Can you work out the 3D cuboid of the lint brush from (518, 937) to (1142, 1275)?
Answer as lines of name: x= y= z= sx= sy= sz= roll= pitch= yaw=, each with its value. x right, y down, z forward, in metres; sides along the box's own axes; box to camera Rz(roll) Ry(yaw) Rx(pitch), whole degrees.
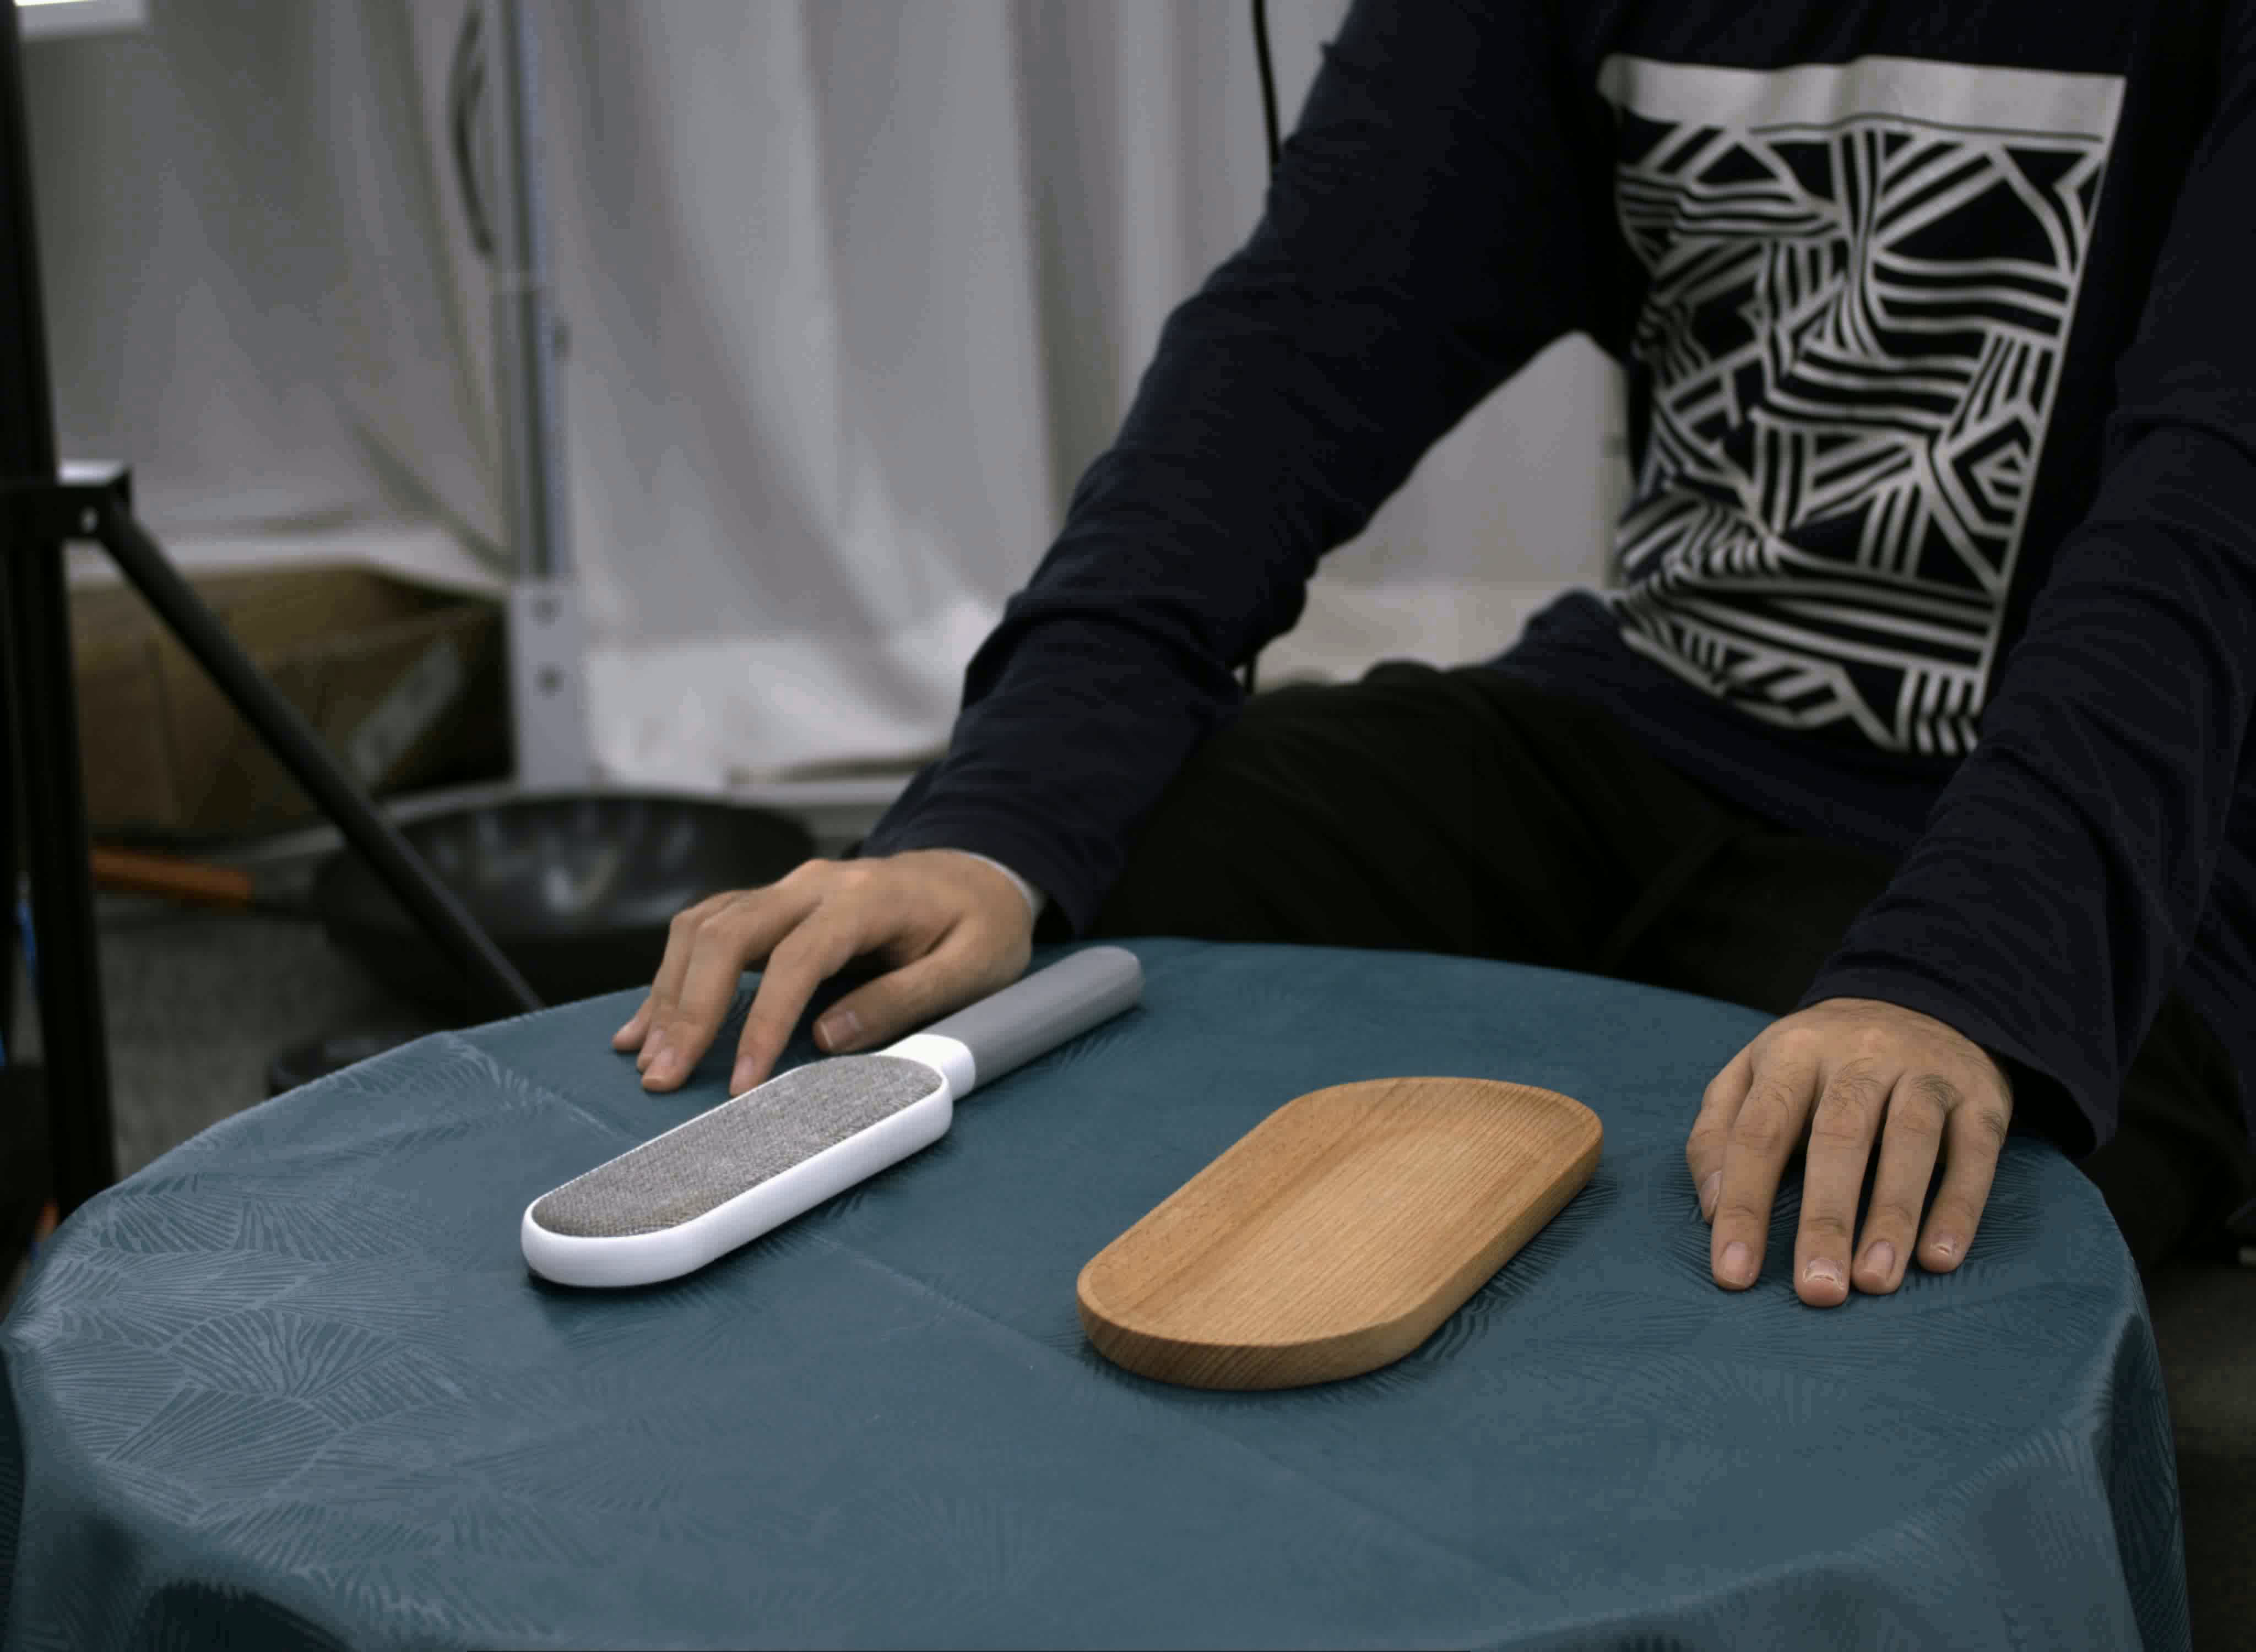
lint brush: x=-0.080 y=0.082 z=1.617 sx=0.061 sy=0.021 sz=0.303 roll=2 pitch=15 yaw=32

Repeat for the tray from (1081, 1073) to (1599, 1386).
tray: x=0.063 y=0.112 z=1.508 sx=0.103 sy=0.020 sz=0.228 roll=7 pitch=16 yaw=22
